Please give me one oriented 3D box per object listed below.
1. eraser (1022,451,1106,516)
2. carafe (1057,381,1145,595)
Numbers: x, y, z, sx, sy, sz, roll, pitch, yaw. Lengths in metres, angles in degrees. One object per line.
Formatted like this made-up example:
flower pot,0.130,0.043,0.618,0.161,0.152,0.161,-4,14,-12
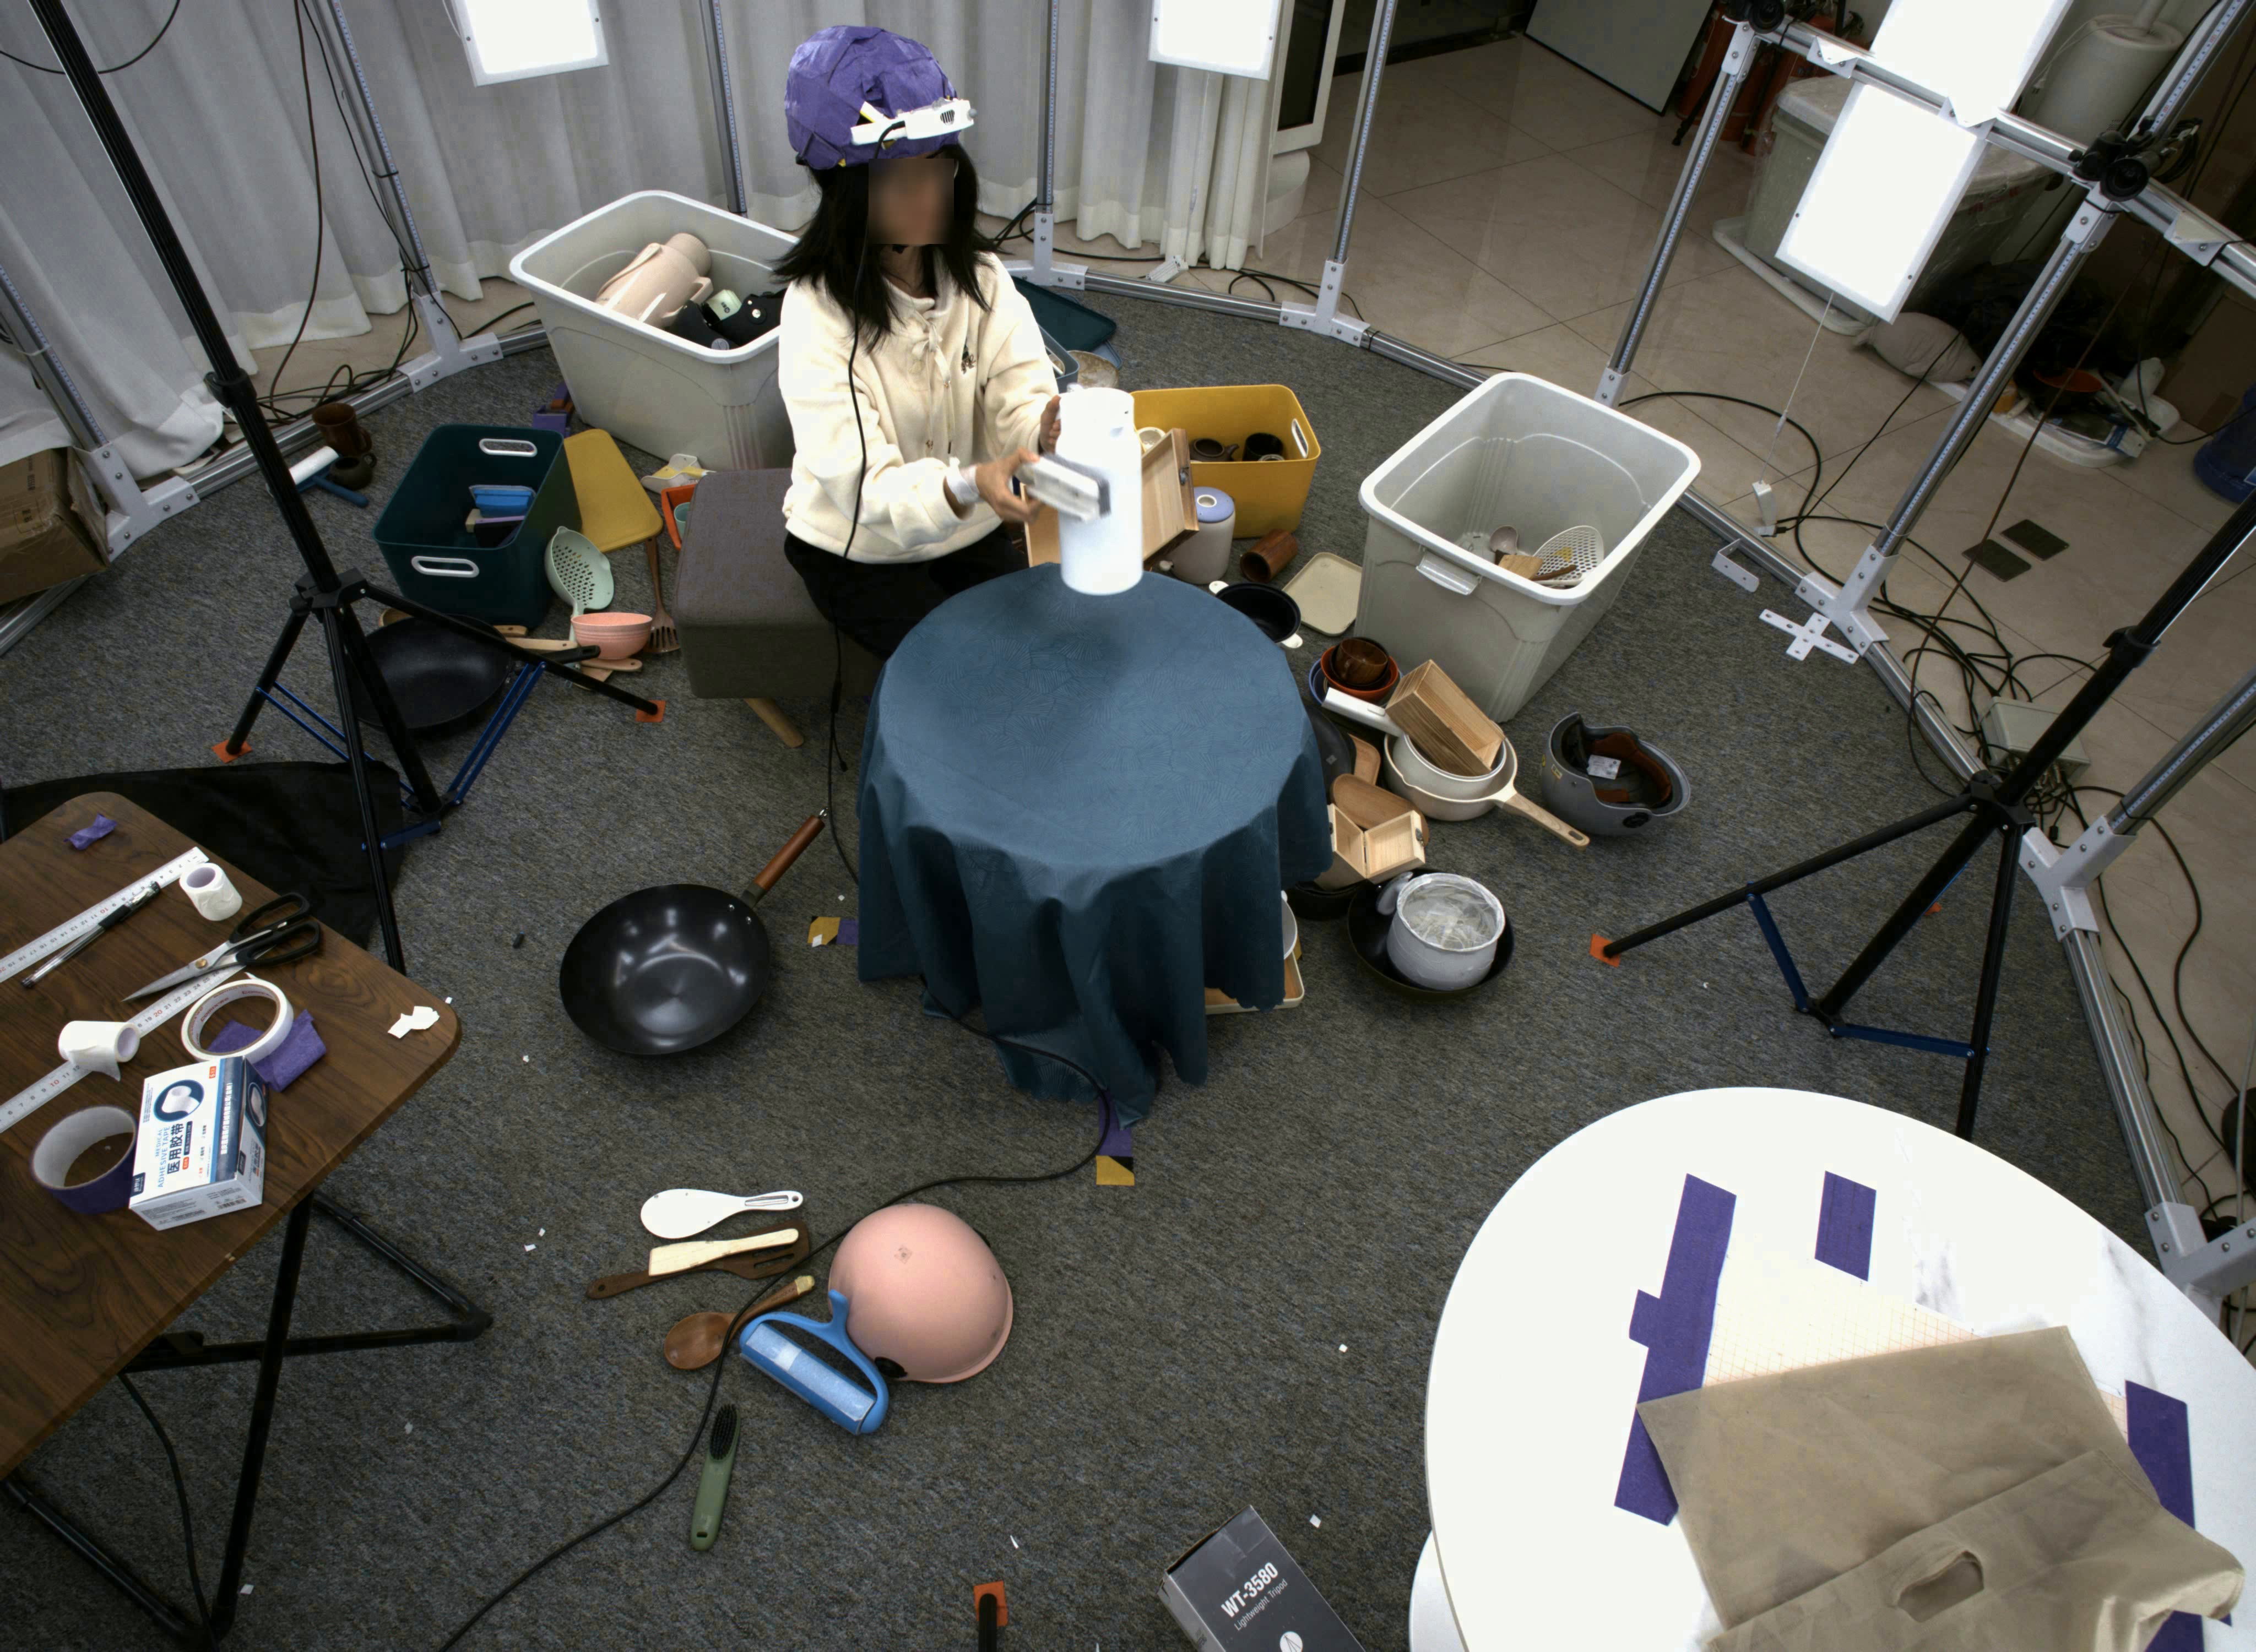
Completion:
eraser,-0.084,-0.452,1.695,0.047,0.048,0.136,-28,40,-25
carafe,-0.046,-0.471,1.794,0.124,0.262,0.176,-21,42,-20
